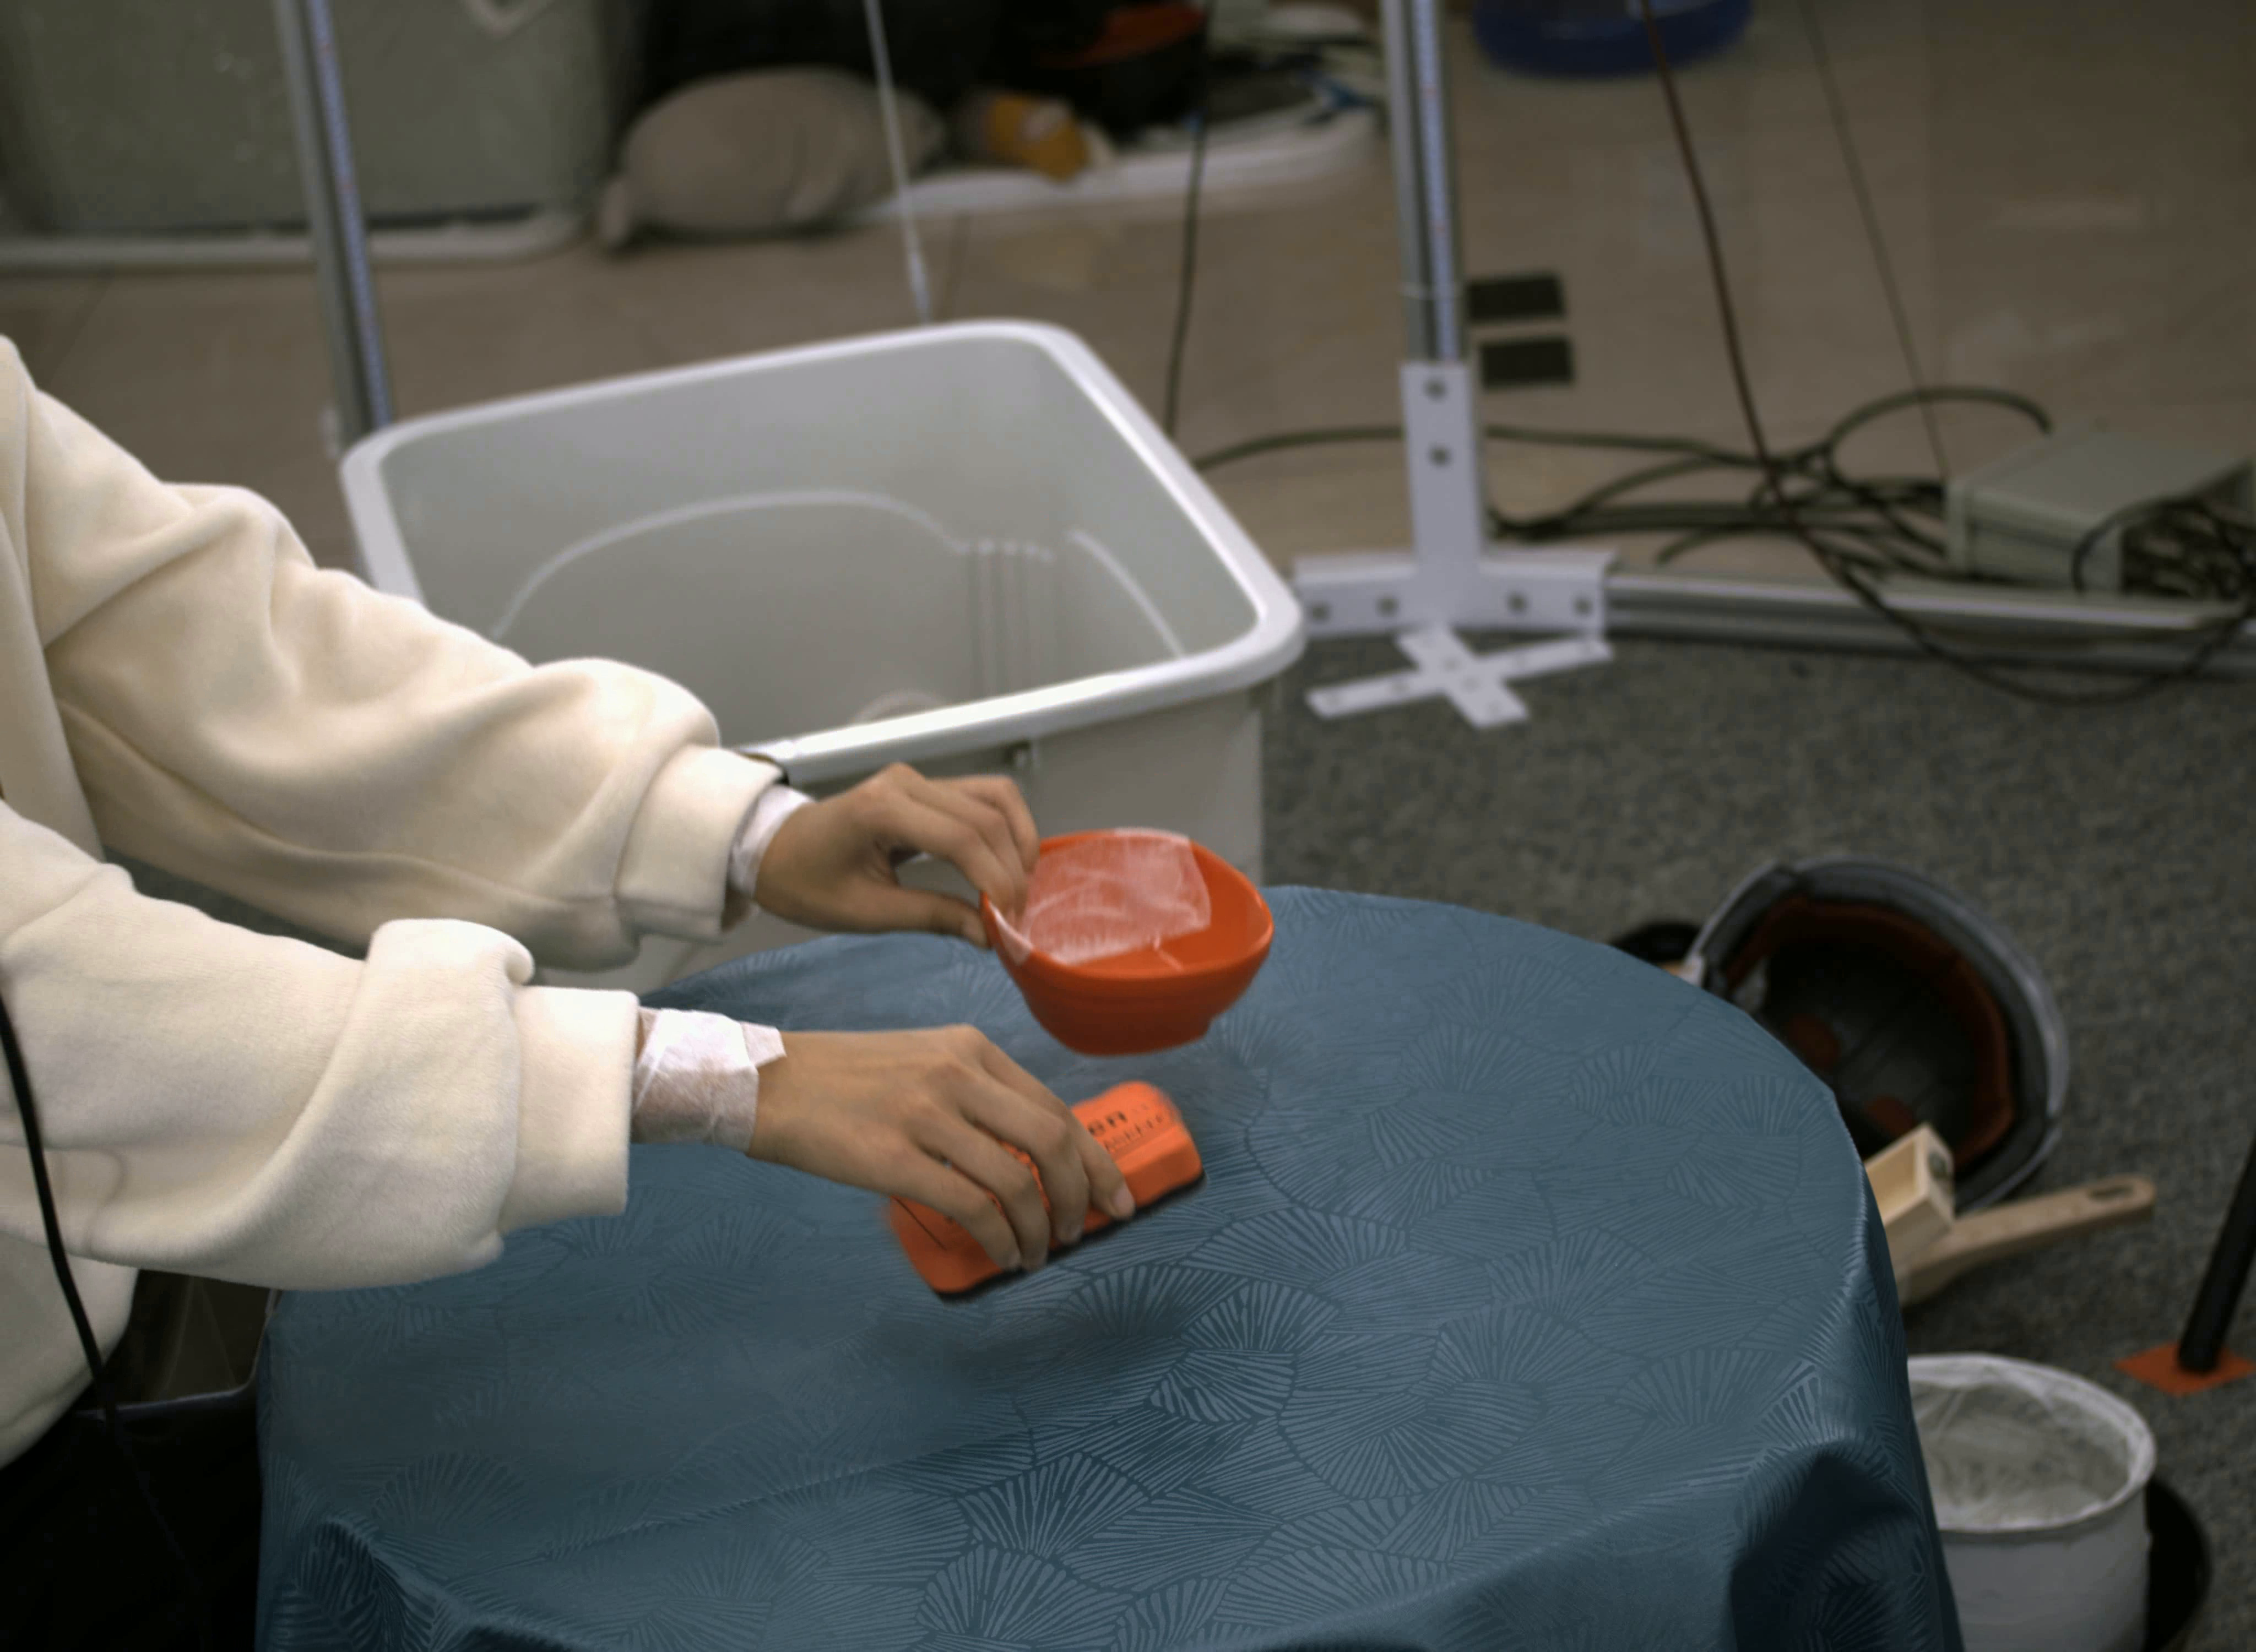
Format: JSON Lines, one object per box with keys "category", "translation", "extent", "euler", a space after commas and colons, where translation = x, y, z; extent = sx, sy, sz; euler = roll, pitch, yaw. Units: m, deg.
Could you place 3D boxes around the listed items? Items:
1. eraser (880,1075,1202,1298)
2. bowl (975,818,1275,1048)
{"category": "eraser", "translation": [-0.031, 0.129, 2.036], "extent": [0.107, 0.023, 0.058], "euler": [-25, 32, -13]}
{"category": "bowl", "translation": [-0.003, 0.047, 2.207], "extent": [0.119, 0.052, 0.117], "euler": [4, 31, -2]}
